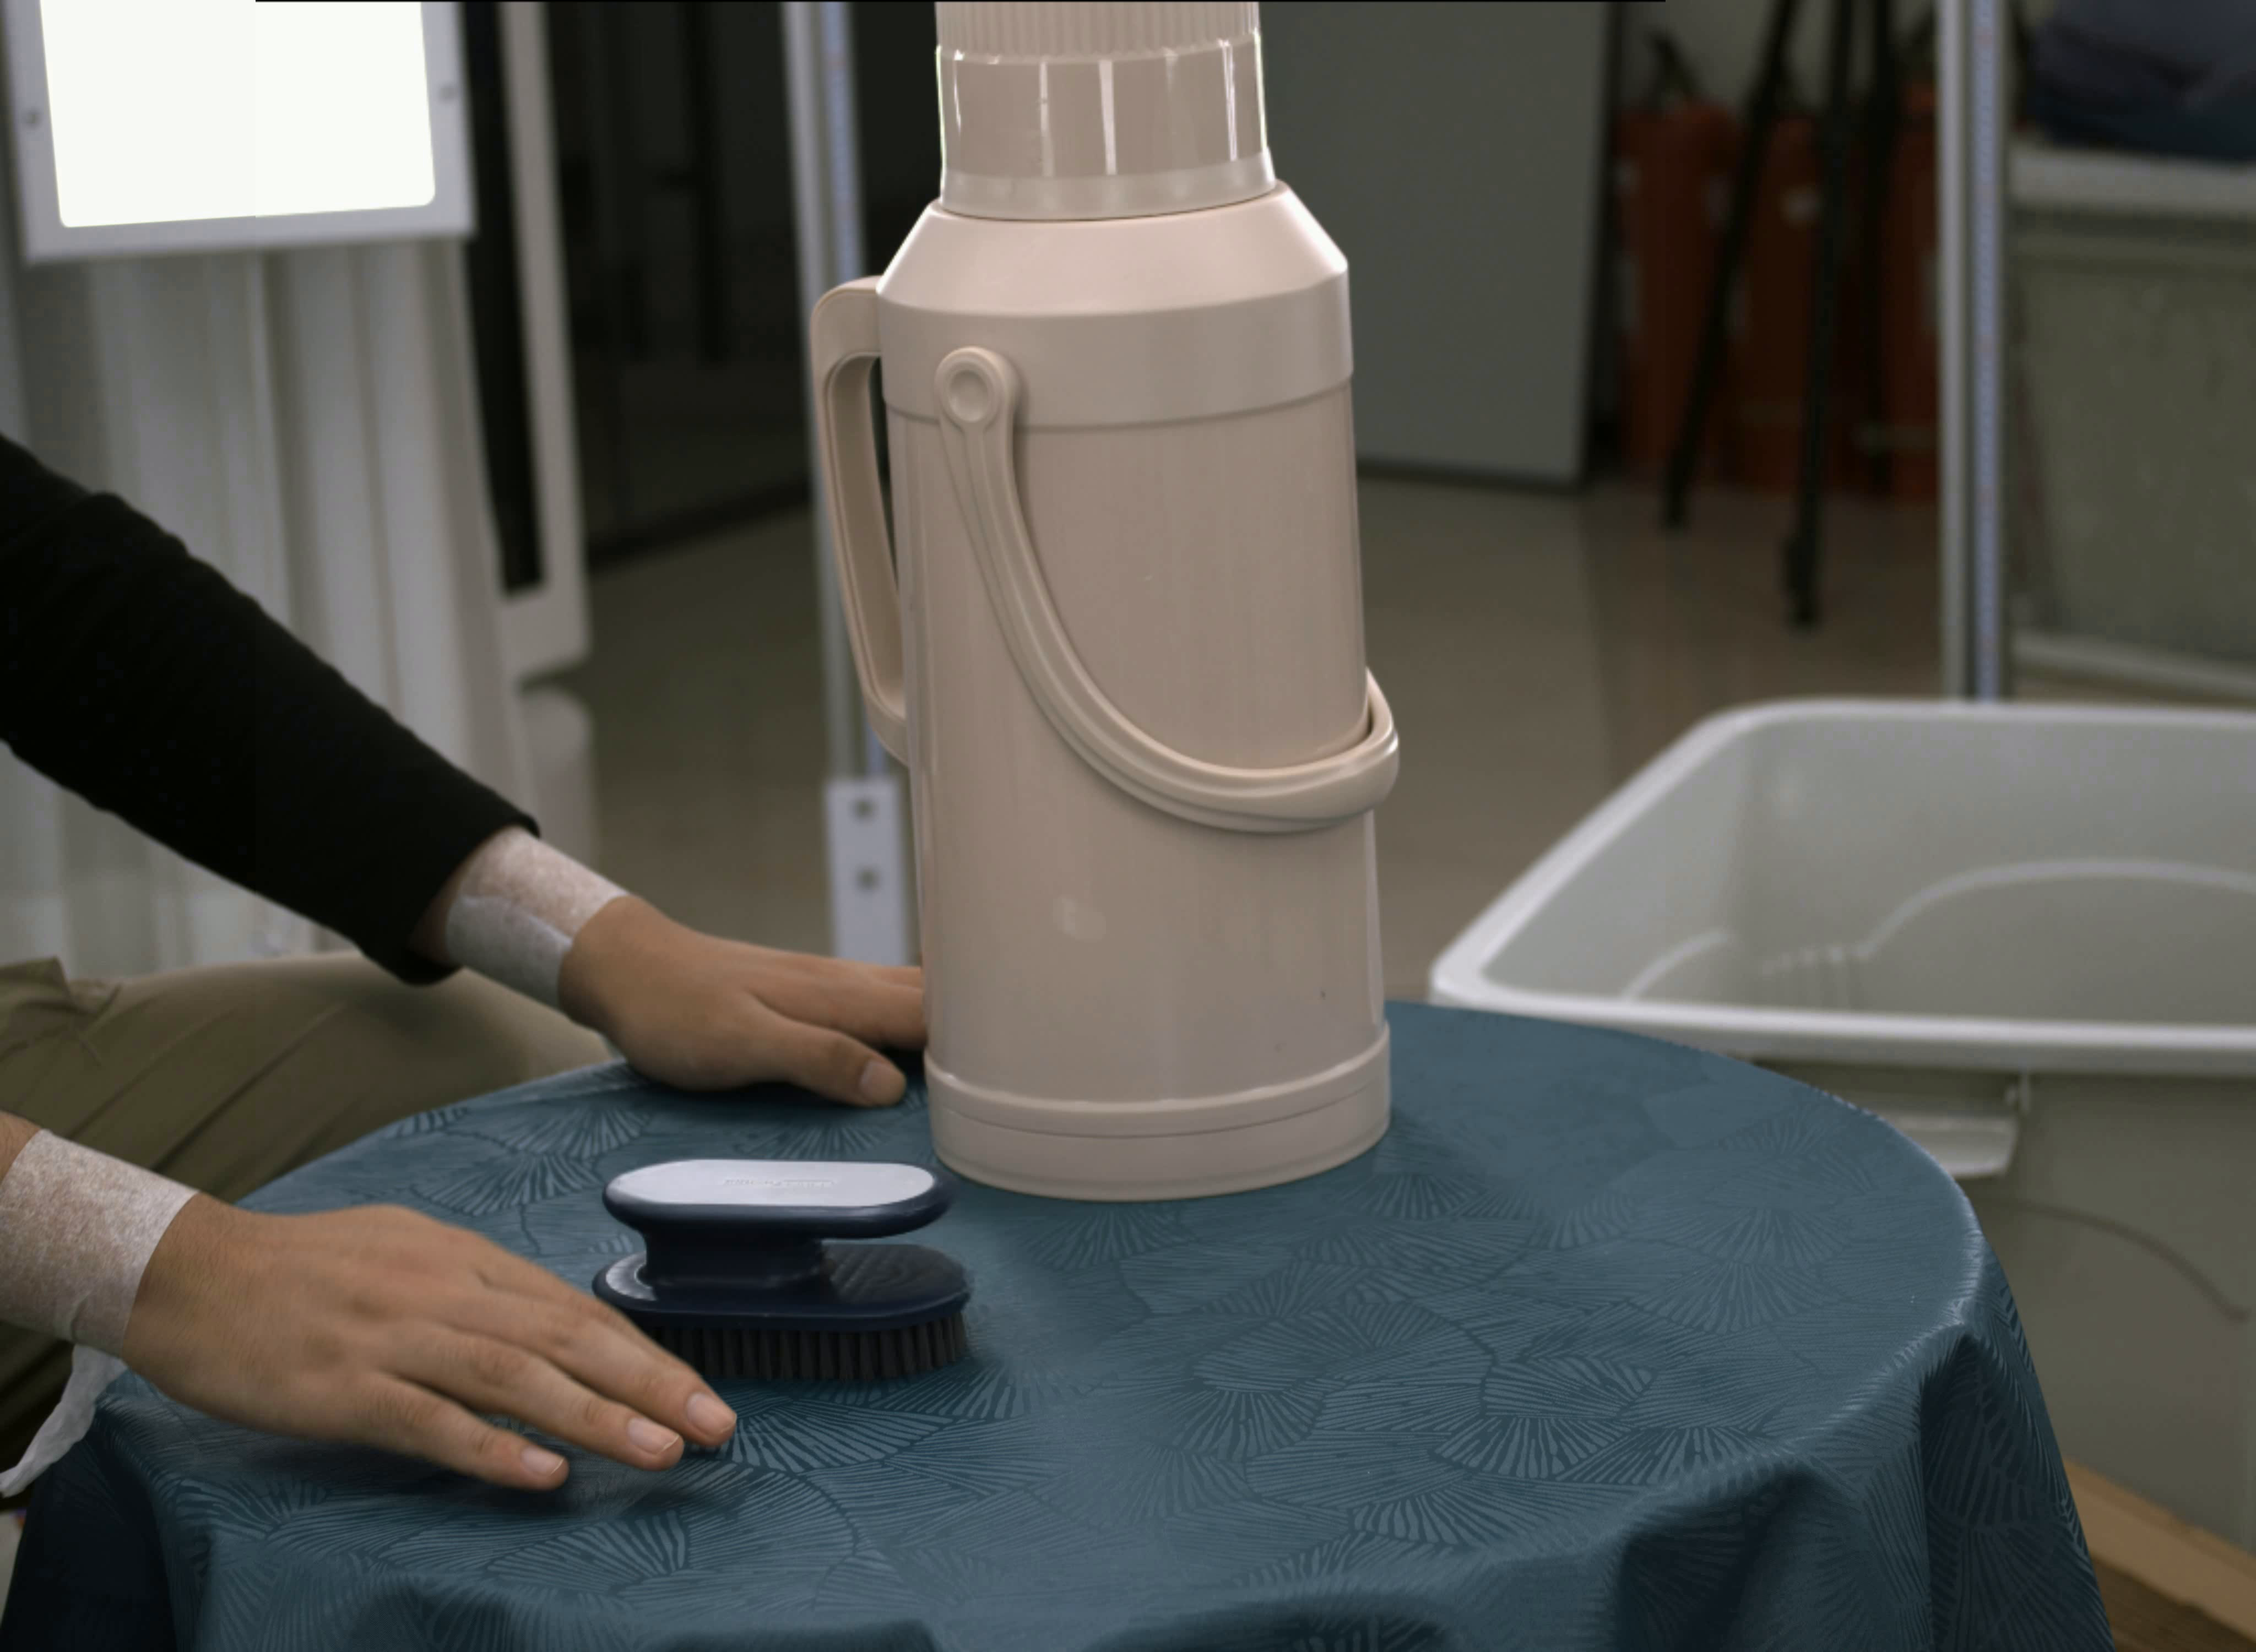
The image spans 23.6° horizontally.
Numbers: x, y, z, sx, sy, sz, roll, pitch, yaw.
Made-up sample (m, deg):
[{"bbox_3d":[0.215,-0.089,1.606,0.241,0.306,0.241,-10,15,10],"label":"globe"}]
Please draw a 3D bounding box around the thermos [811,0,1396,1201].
[{"bbox_3d":[-0.011,-0.091,1.799,0.208,0.411,0.172,5,17,33],"label":"thermos"}]

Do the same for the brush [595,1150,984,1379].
[{"bbox_3d":[-0.102,0.134,1.633,0.121,0.062,0.067,2,11,17],"label":"brush"}]
